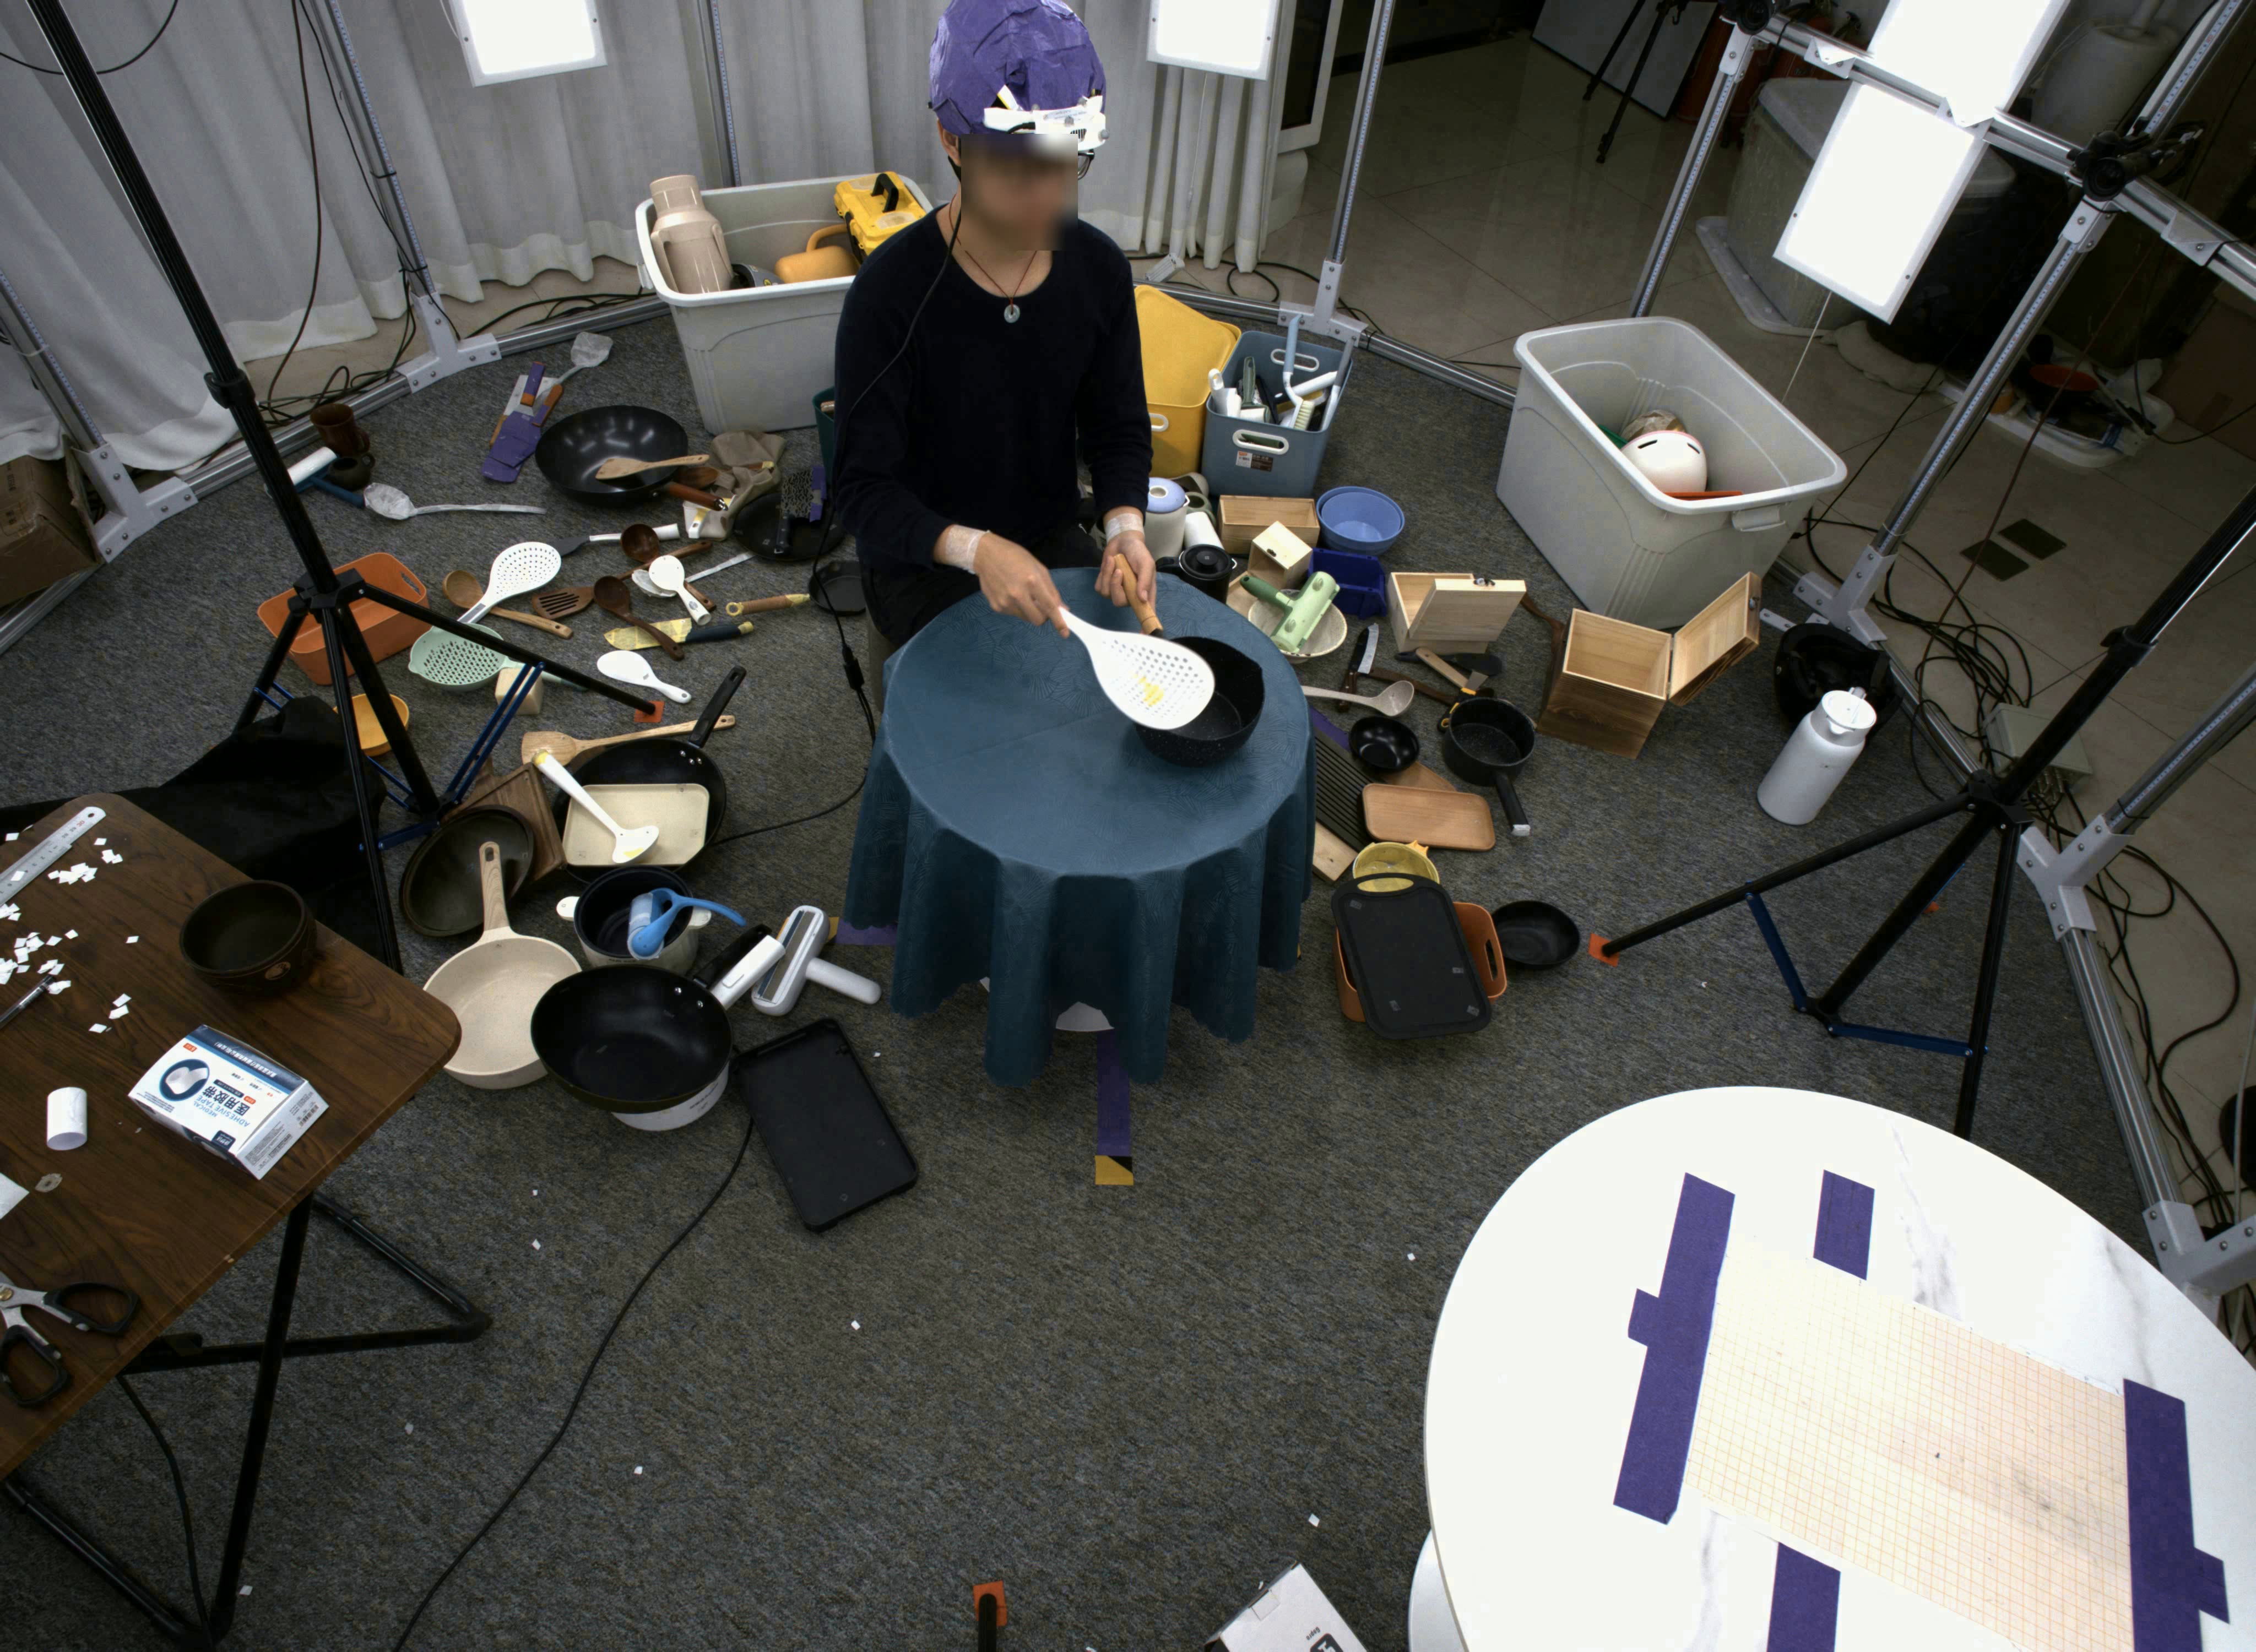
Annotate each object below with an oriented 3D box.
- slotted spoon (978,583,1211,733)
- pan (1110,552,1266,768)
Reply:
[{"bbox_3d":[-0.052,-0.235,1.680,0.350,0.049,0.138,36,62,10],"label":"slotted spoon"},{"bbox_3d":[0.054,-0.230,1.786,0.208,0.106,0.350,-21,60,-19],"label":"pan"}]
